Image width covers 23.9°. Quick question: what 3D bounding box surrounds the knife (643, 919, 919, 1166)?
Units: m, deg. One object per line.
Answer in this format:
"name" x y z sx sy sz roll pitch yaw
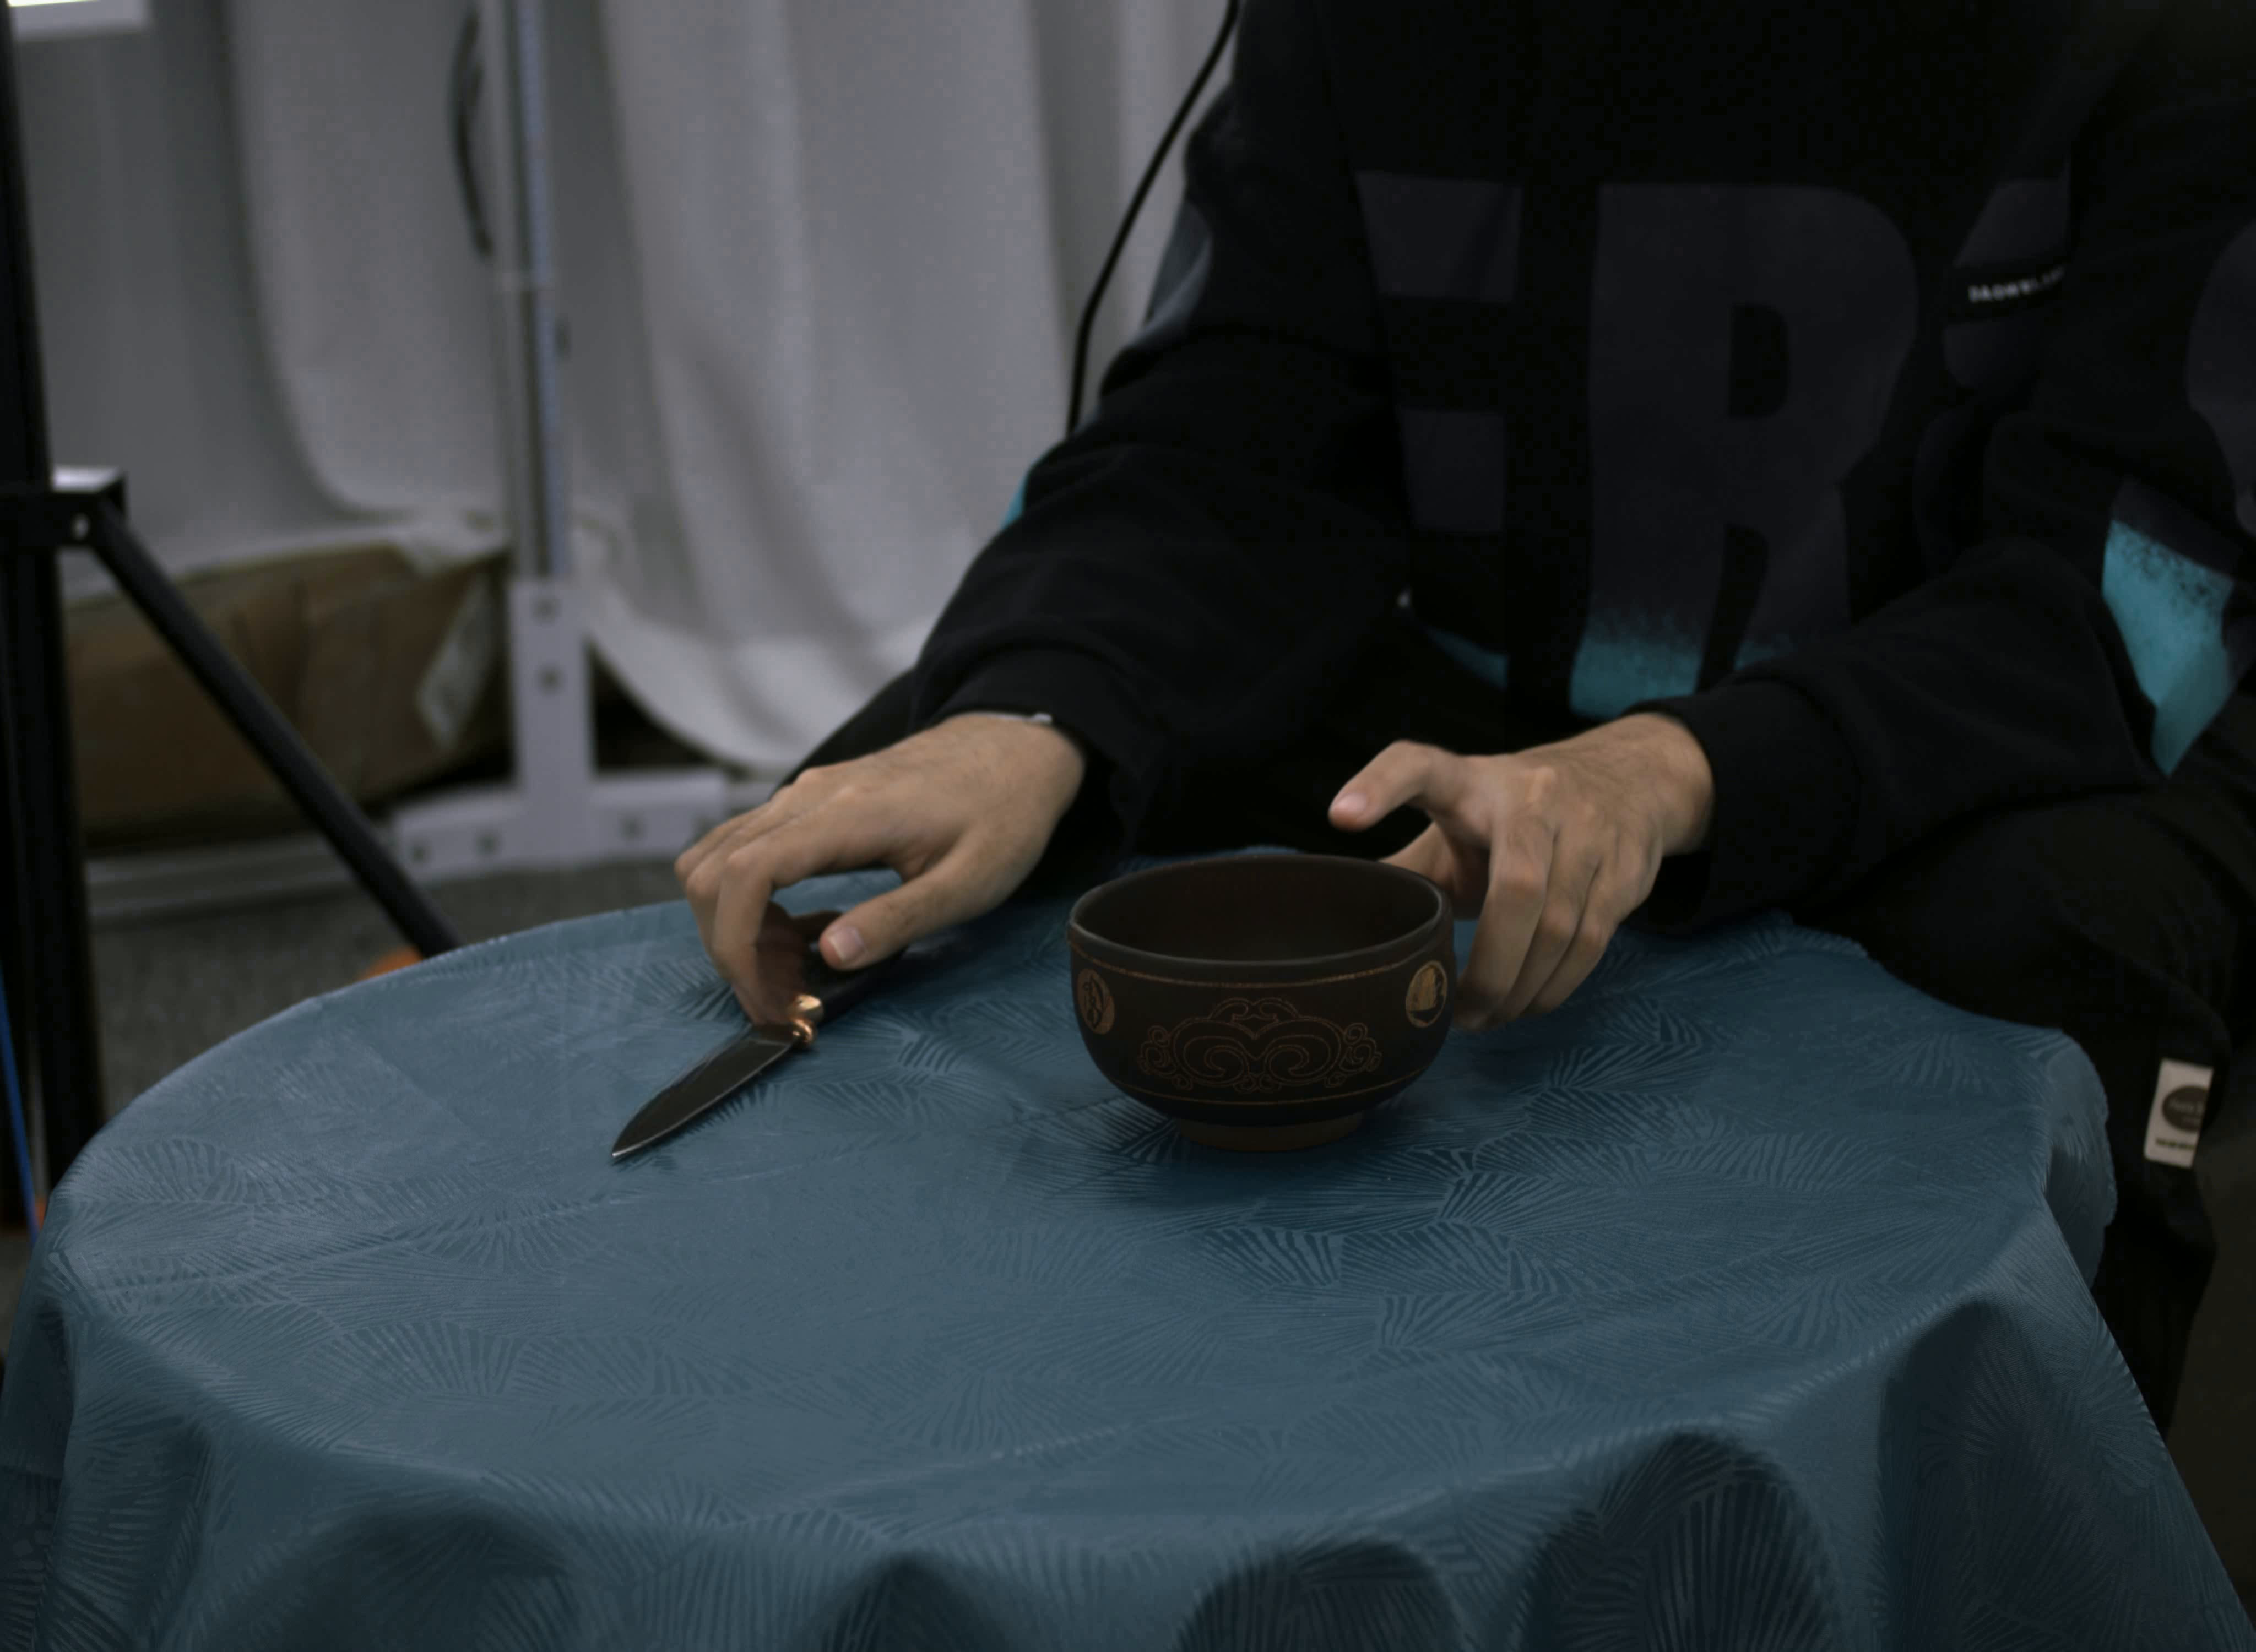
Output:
"knife" -0.113 0.068 1.698 0.026 0.017 0.223 10 20 17

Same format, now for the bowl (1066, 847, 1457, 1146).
"bowl" 0.040 0.055 1.601 0.117 0.070 0.118 -1 15 -1
